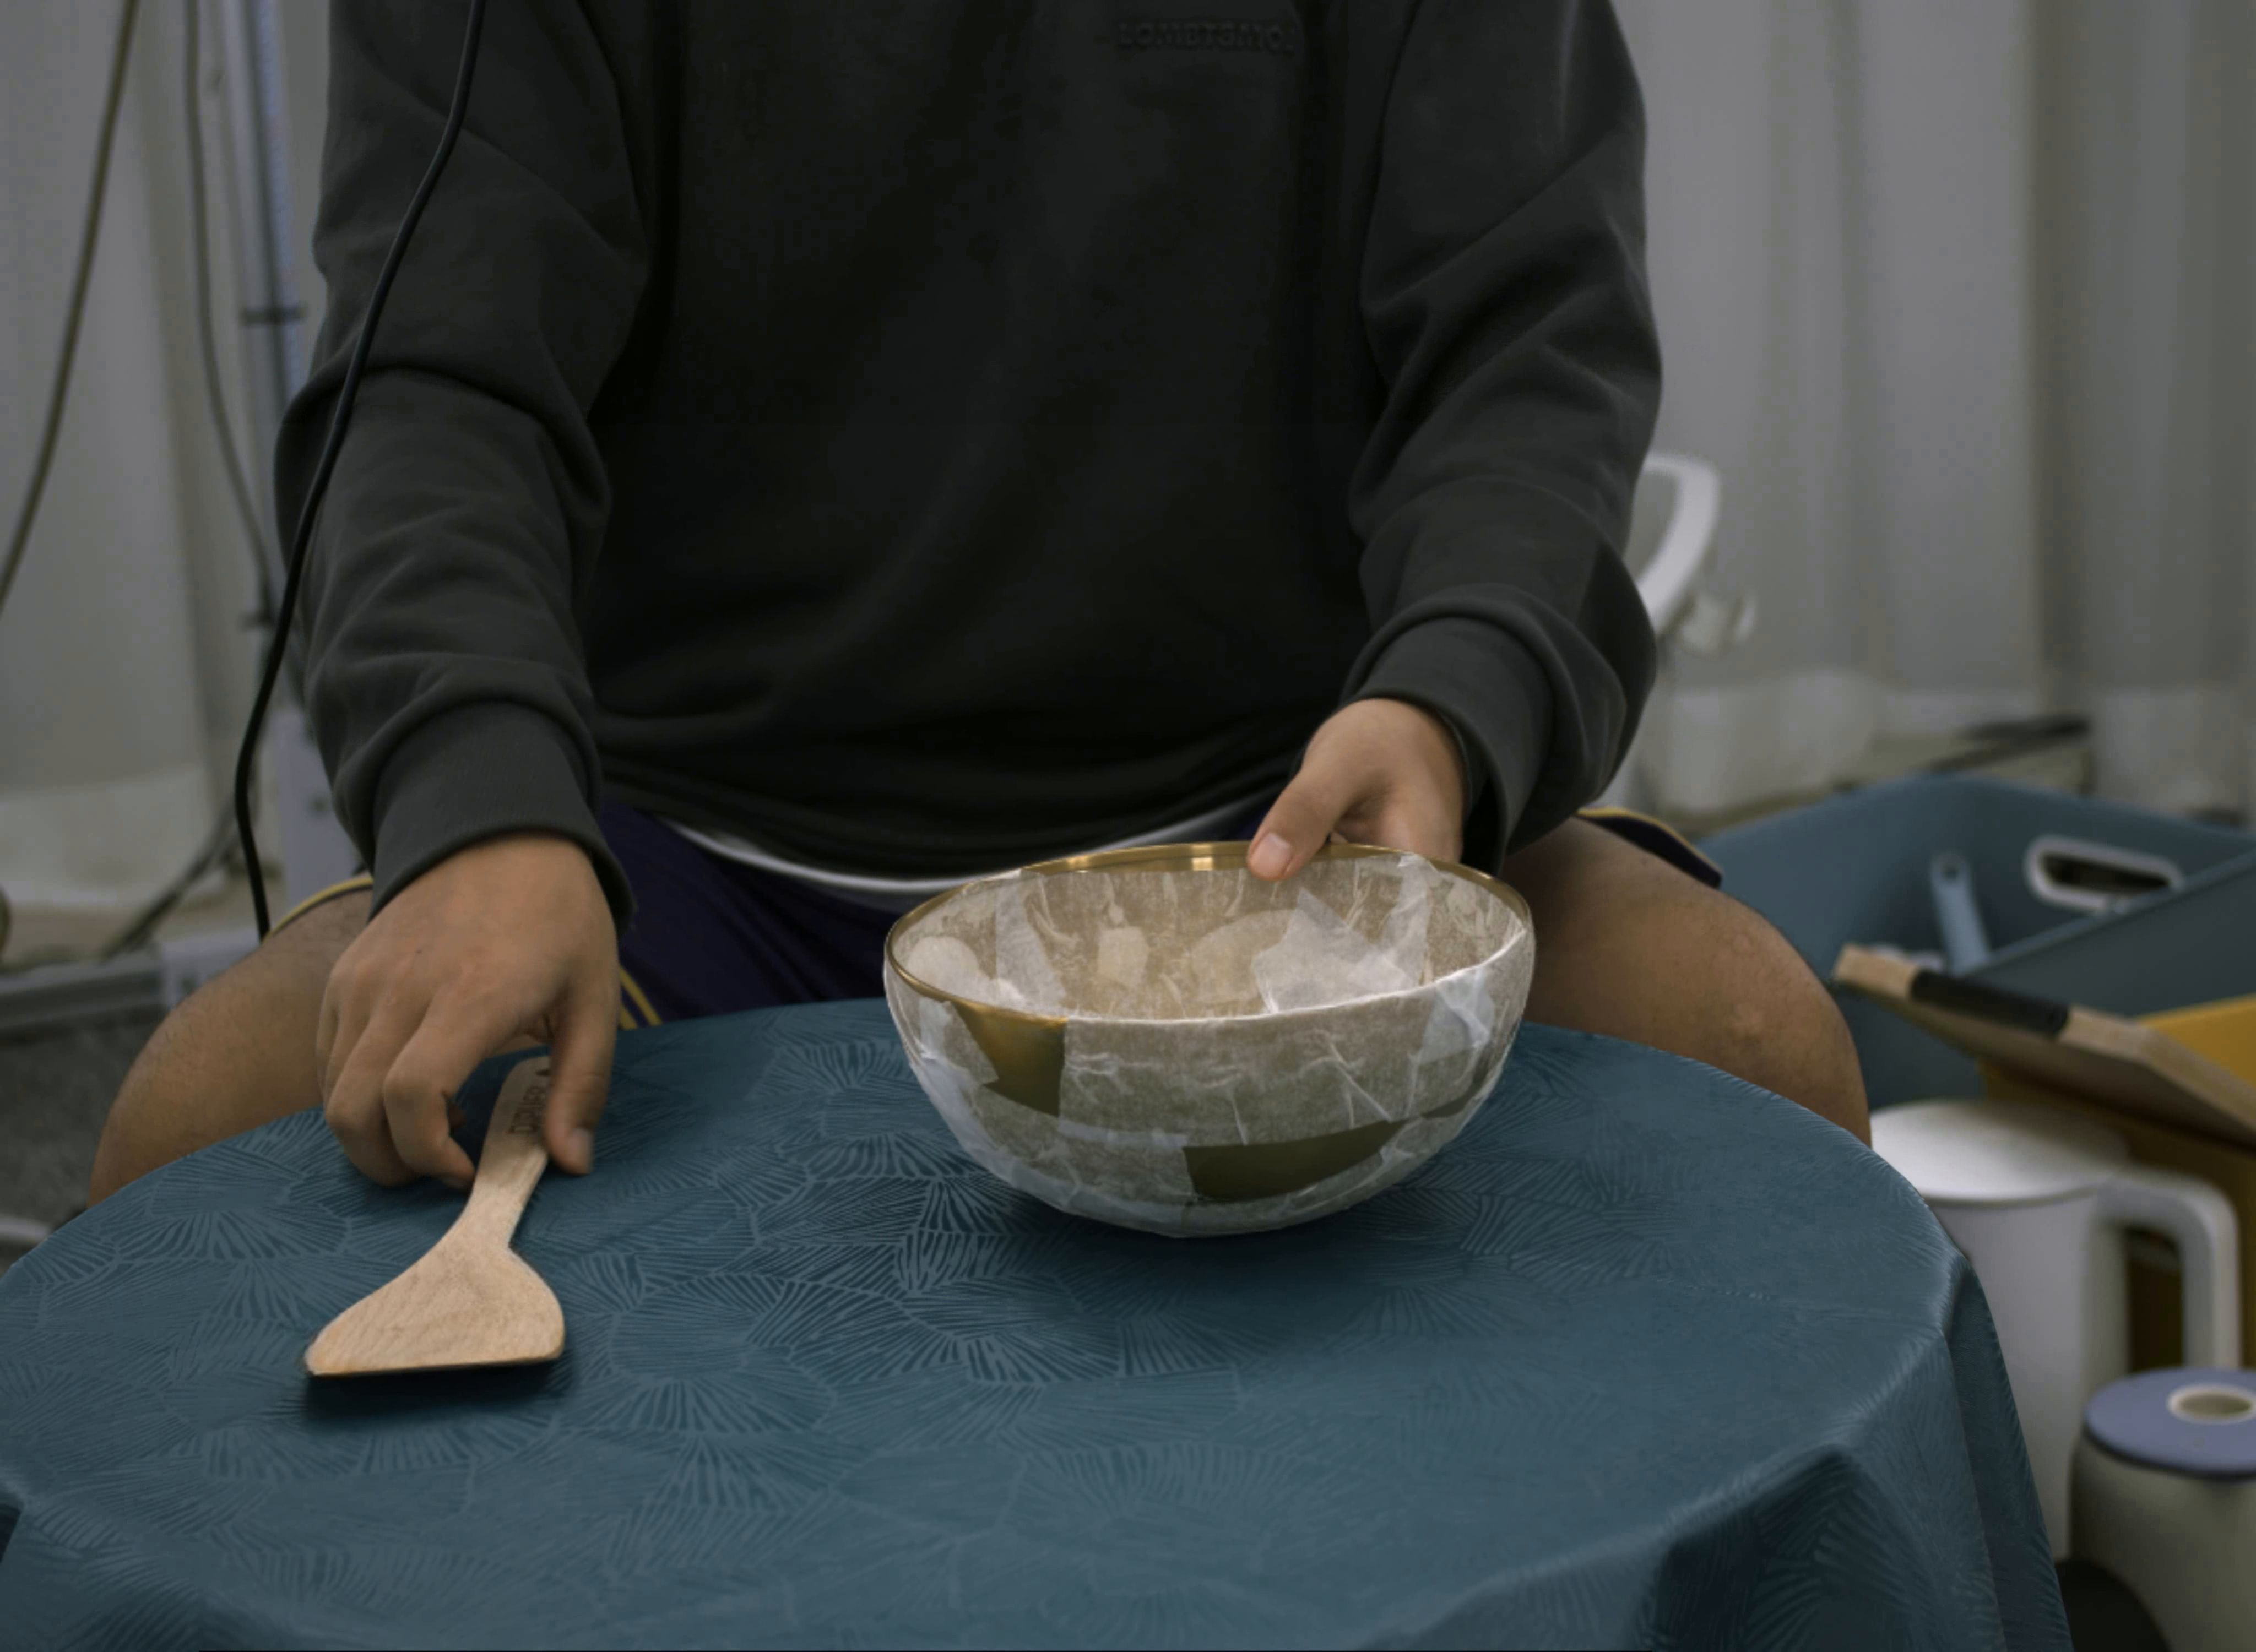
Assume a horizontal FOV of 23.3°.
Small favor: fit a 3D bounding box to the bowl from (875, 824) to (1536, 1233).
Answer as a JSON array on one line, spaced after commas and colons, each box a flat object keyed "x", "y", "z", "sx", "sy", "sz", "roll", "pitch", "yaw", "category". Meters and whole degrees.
[{"x": 0.027, "y": 0.070, "z": 1.693, "sx": 0.214, "sy": 0.094, "sz": 0.216, "roll": -3, "pitch": 15, "yaw": 1, "category": "bowl"}]

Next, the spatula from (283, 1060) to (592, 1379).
[{"x": -0.198, "y": 0.120, "z": 1.706, "sx": 0.080, "sy": 0.016, "sz": 0.329, "roll": -3, "pitch": 15, "yaw": 2, "category": "spatula"}]
